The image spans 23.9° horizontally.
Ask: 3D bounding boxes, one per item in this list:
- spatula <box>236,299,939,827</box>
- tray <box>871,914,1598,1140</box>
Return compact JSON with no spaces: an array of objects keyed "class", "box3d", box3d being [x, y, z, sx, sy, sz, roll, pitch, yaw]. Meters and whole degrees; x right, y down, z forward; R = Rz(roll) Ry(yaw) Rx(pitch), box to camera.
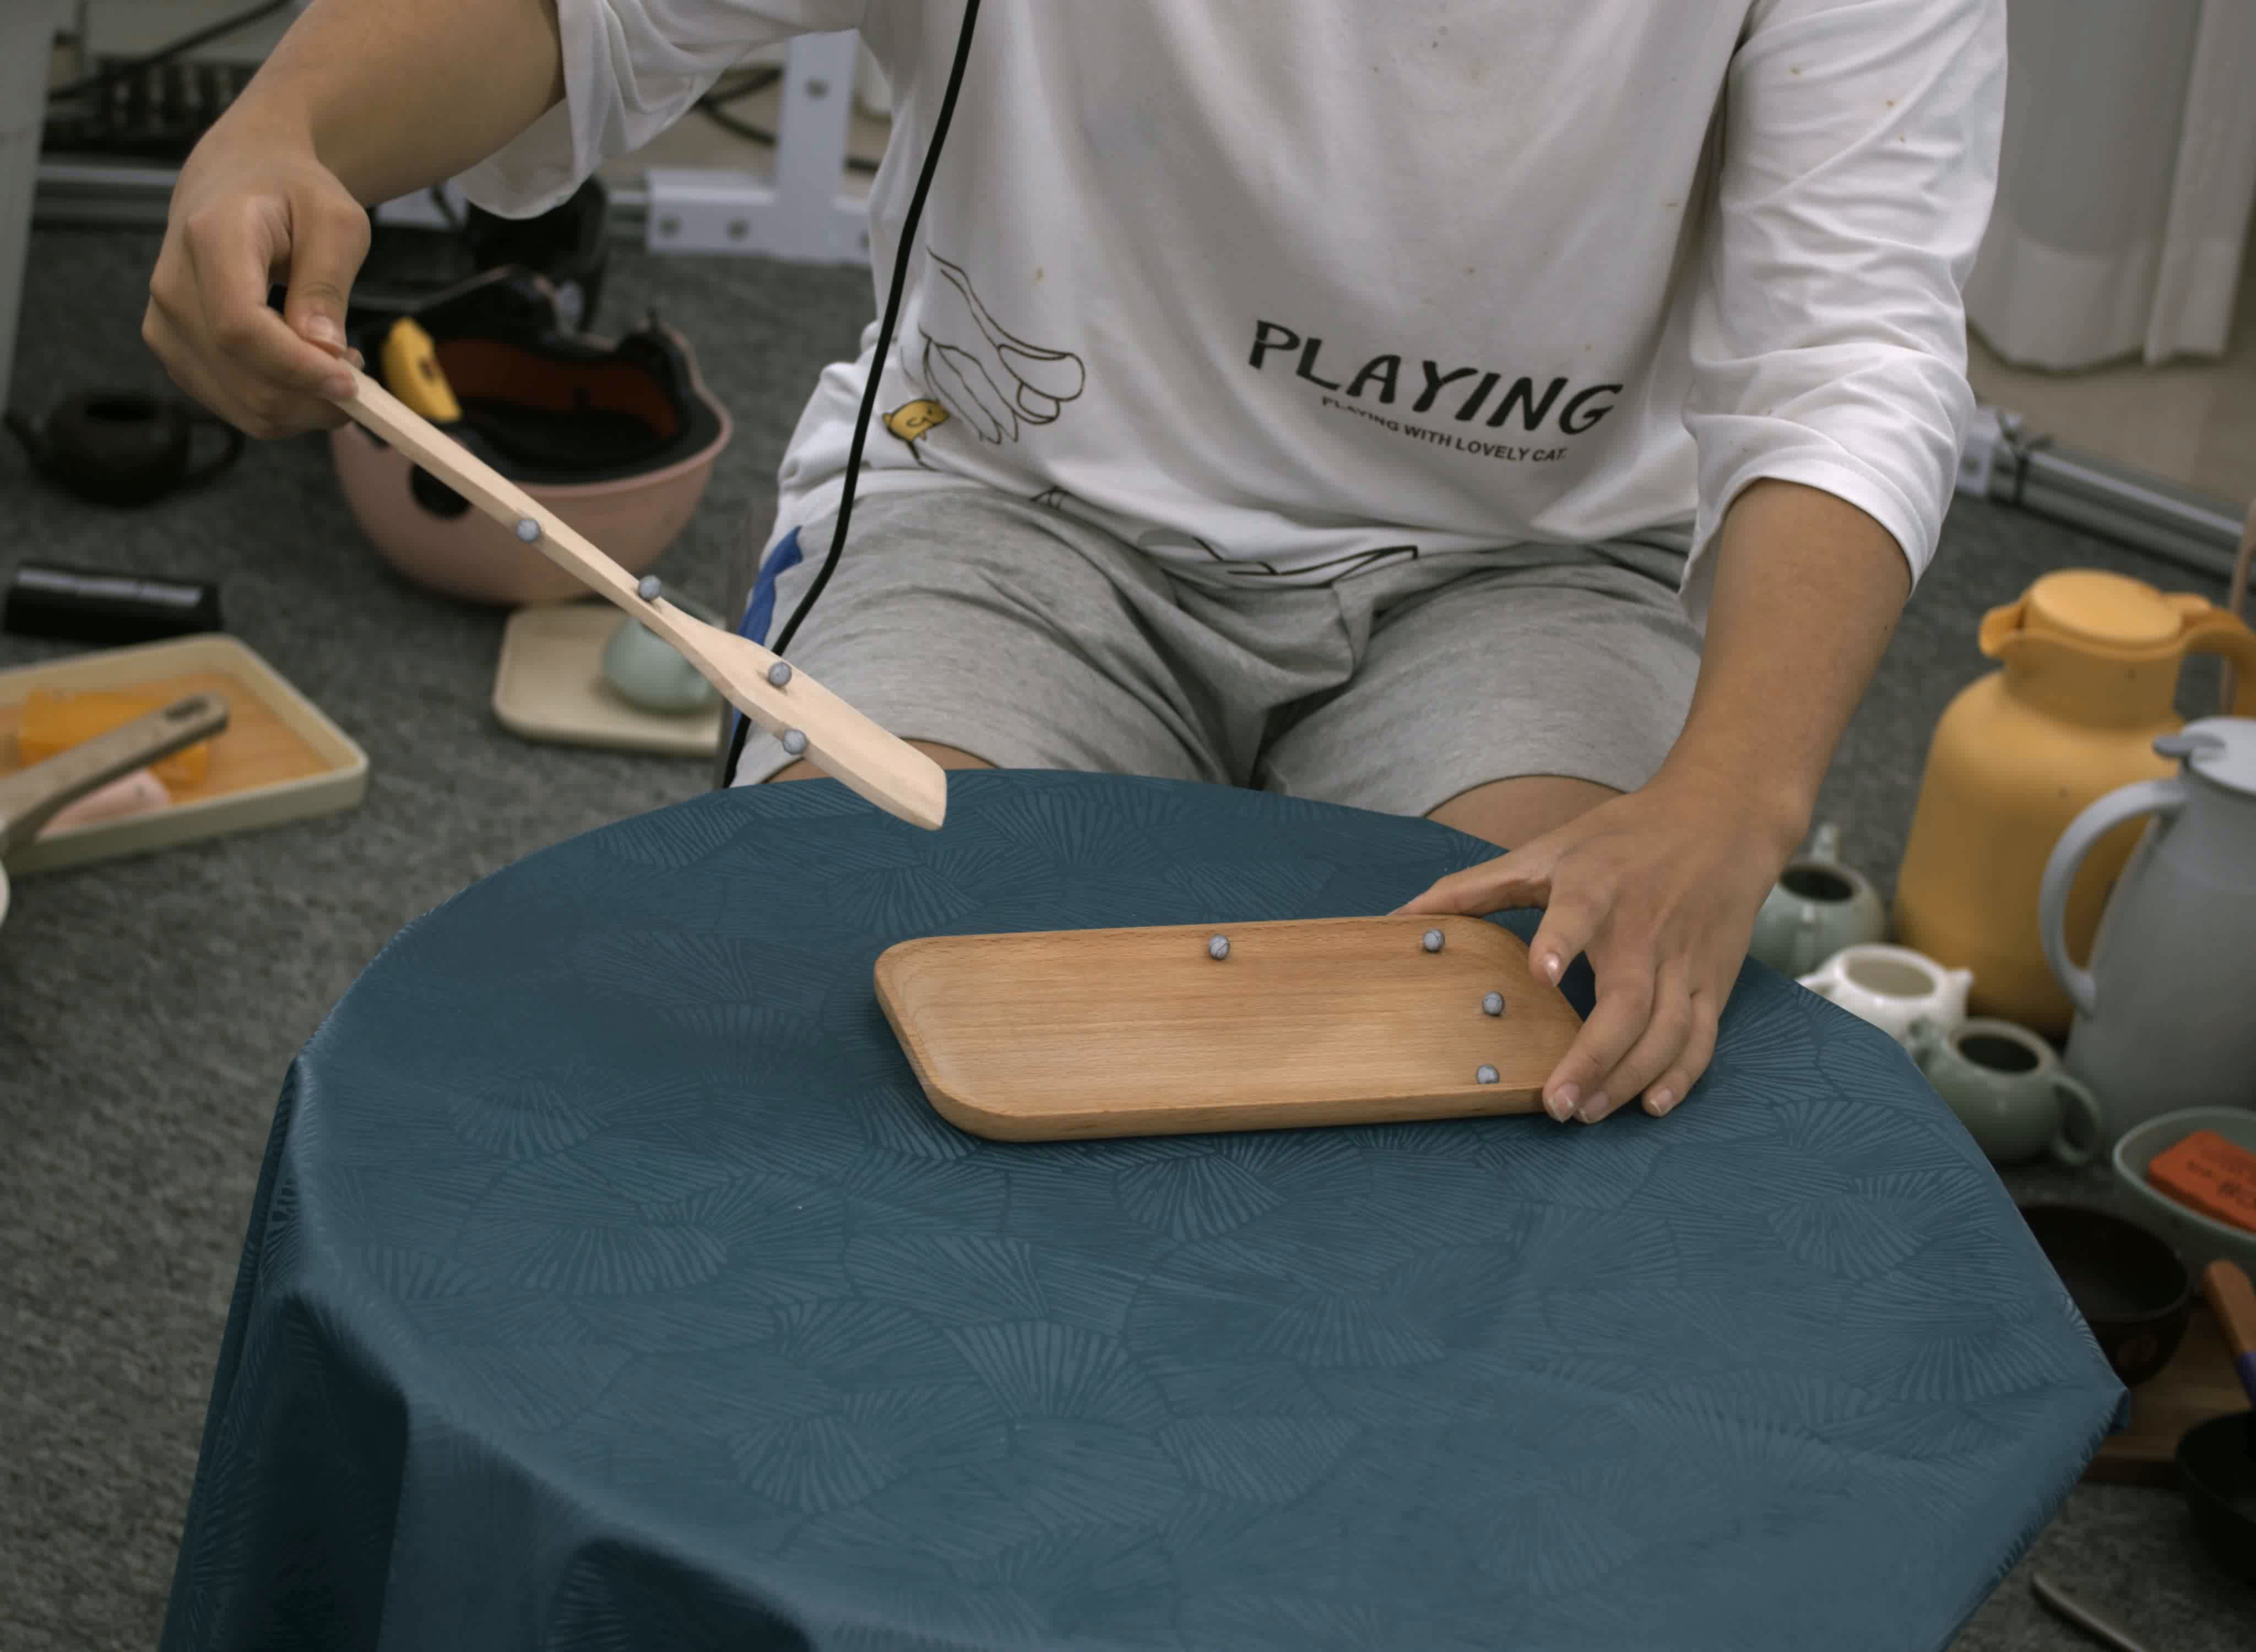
[{"class":"spatula","box3d":[-0.184,-0.091,1.822,0.292,0.010,0.072,36,15,-10]},{"class":"tray","box3d":[0.037,0.071,1.902,0.249,0.023,0.131,-2,26,-16]}]
